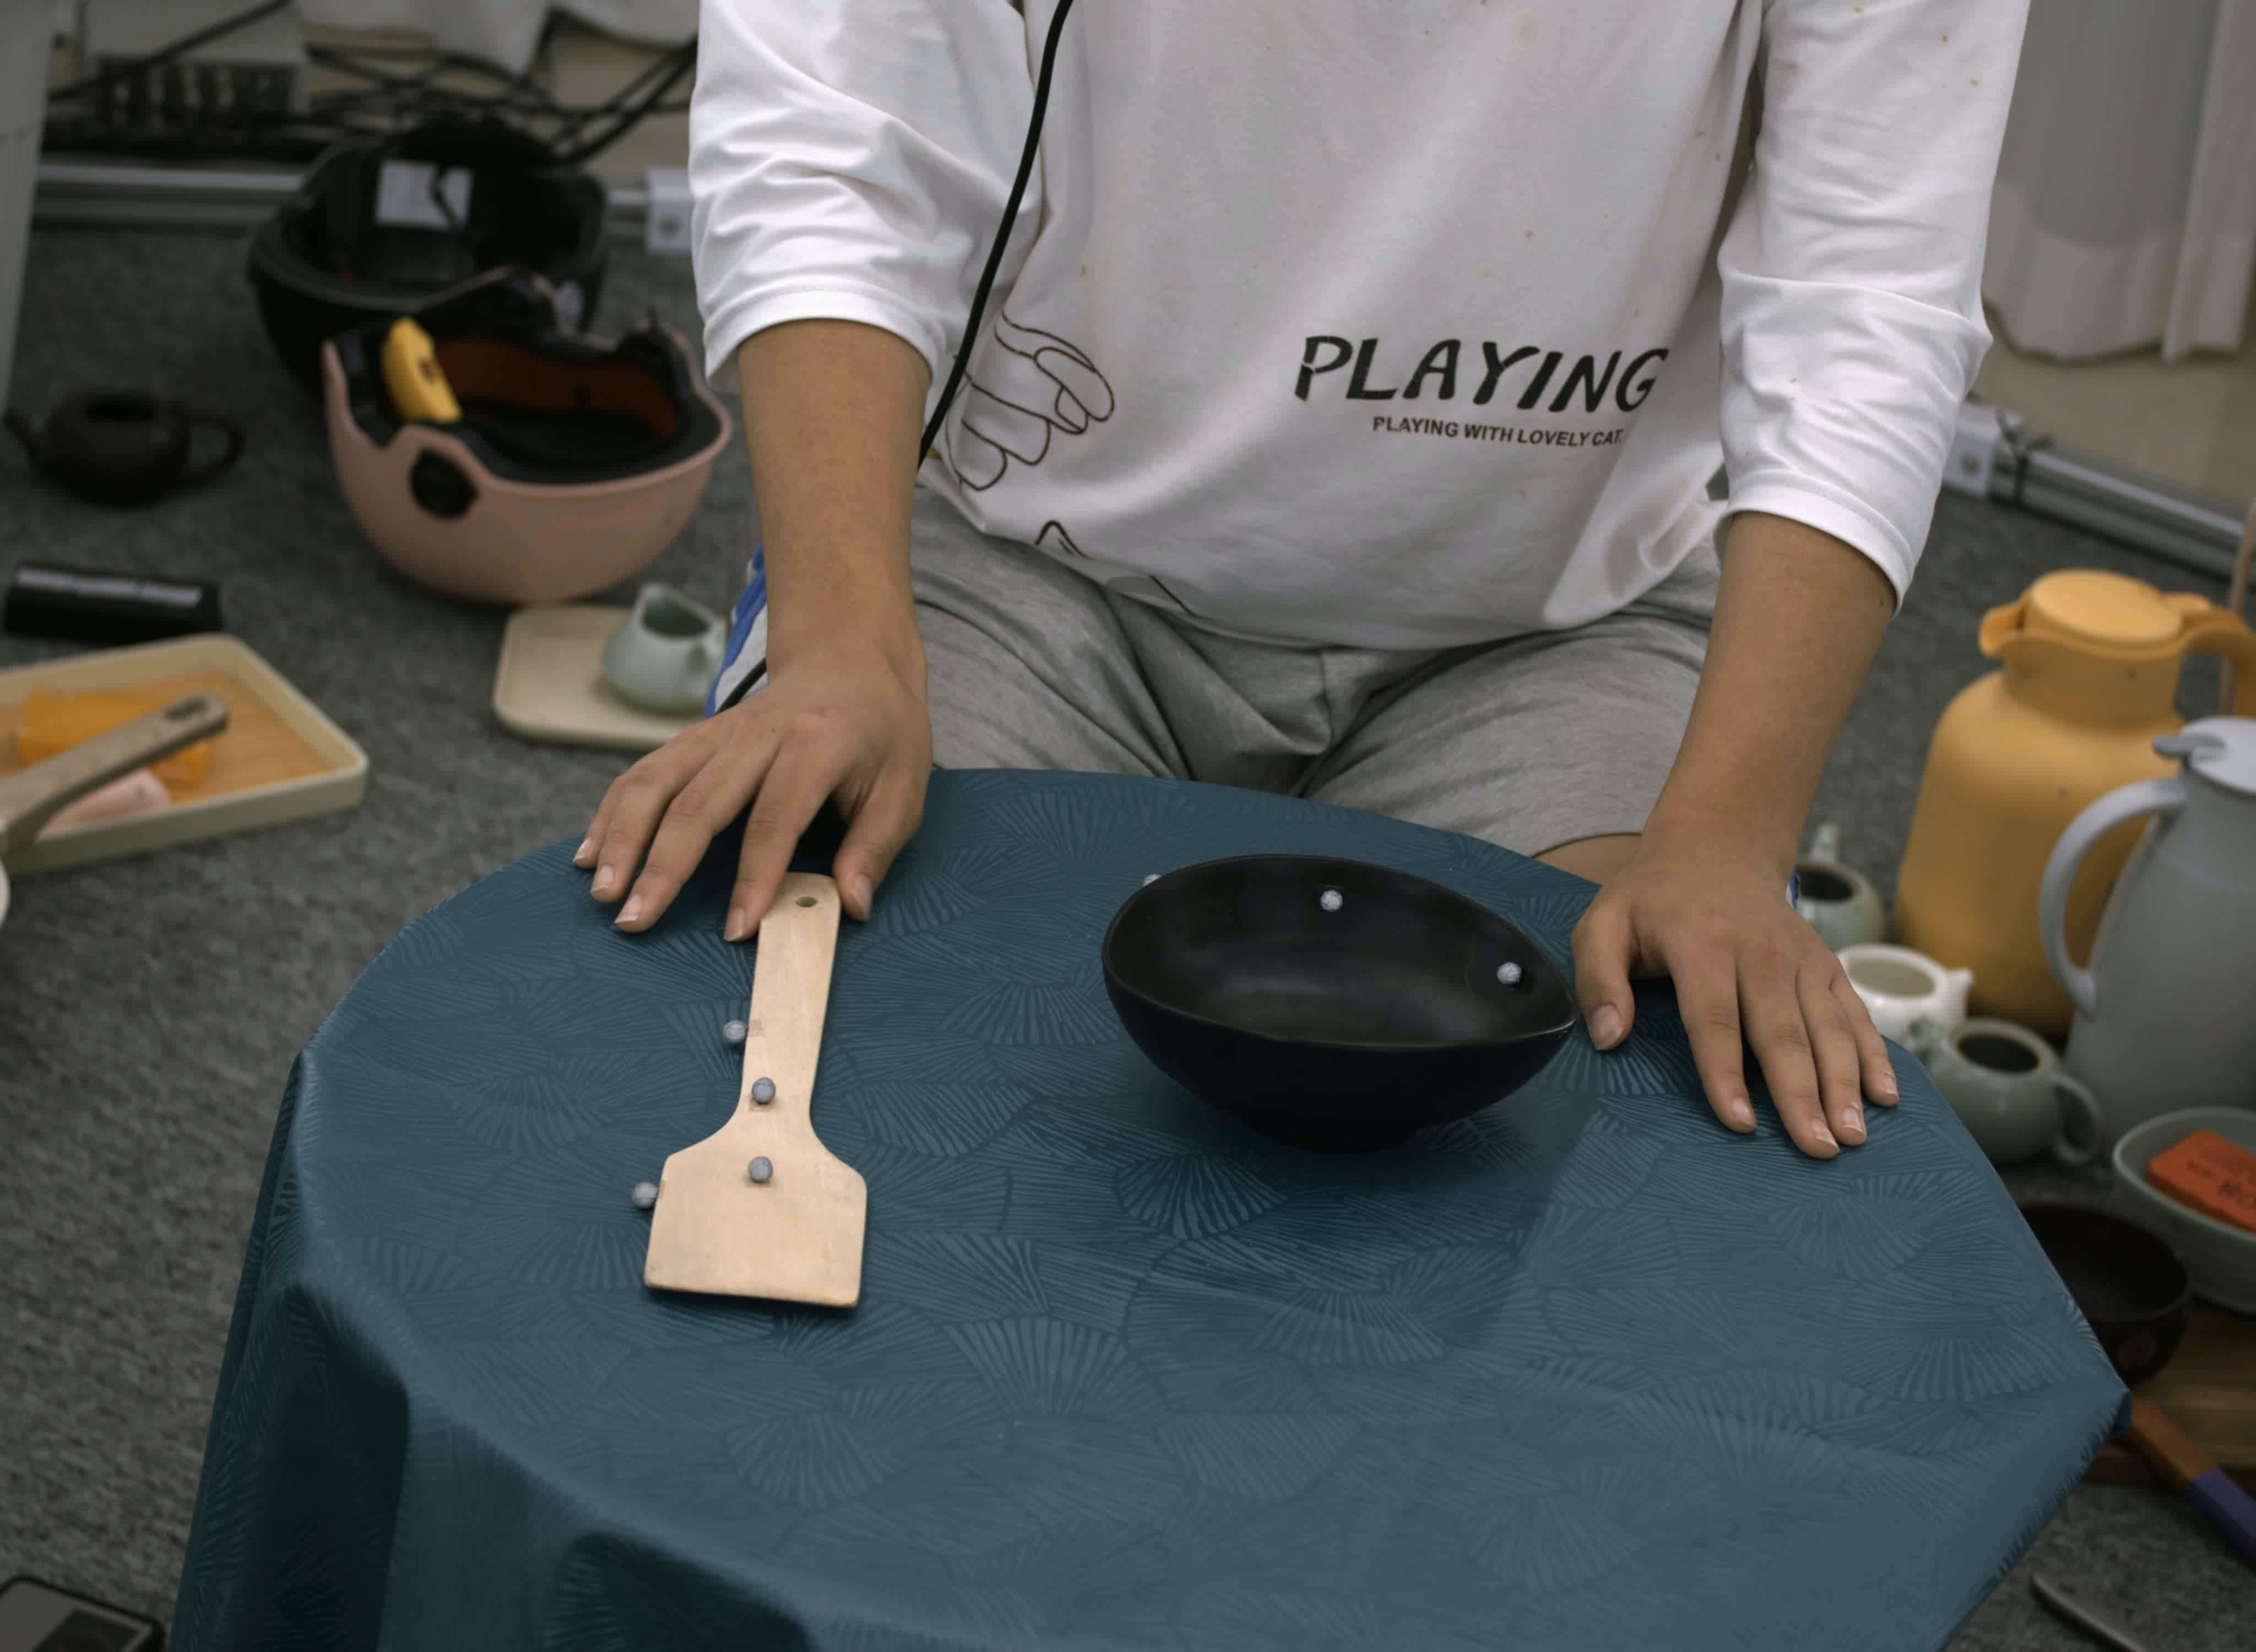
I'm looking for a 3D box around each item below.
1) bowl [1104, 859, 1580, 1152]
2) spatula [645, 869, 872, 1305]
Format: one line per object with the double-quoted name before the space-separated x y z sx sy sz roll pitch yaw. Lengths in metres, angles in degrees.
"bowl" 0.071 0.069 1.860 0.169 0.066 0.138 3 26 -12
"spatula" -0.120 0.085 1.842 0.072 0.010 0.295 5 27 -2
